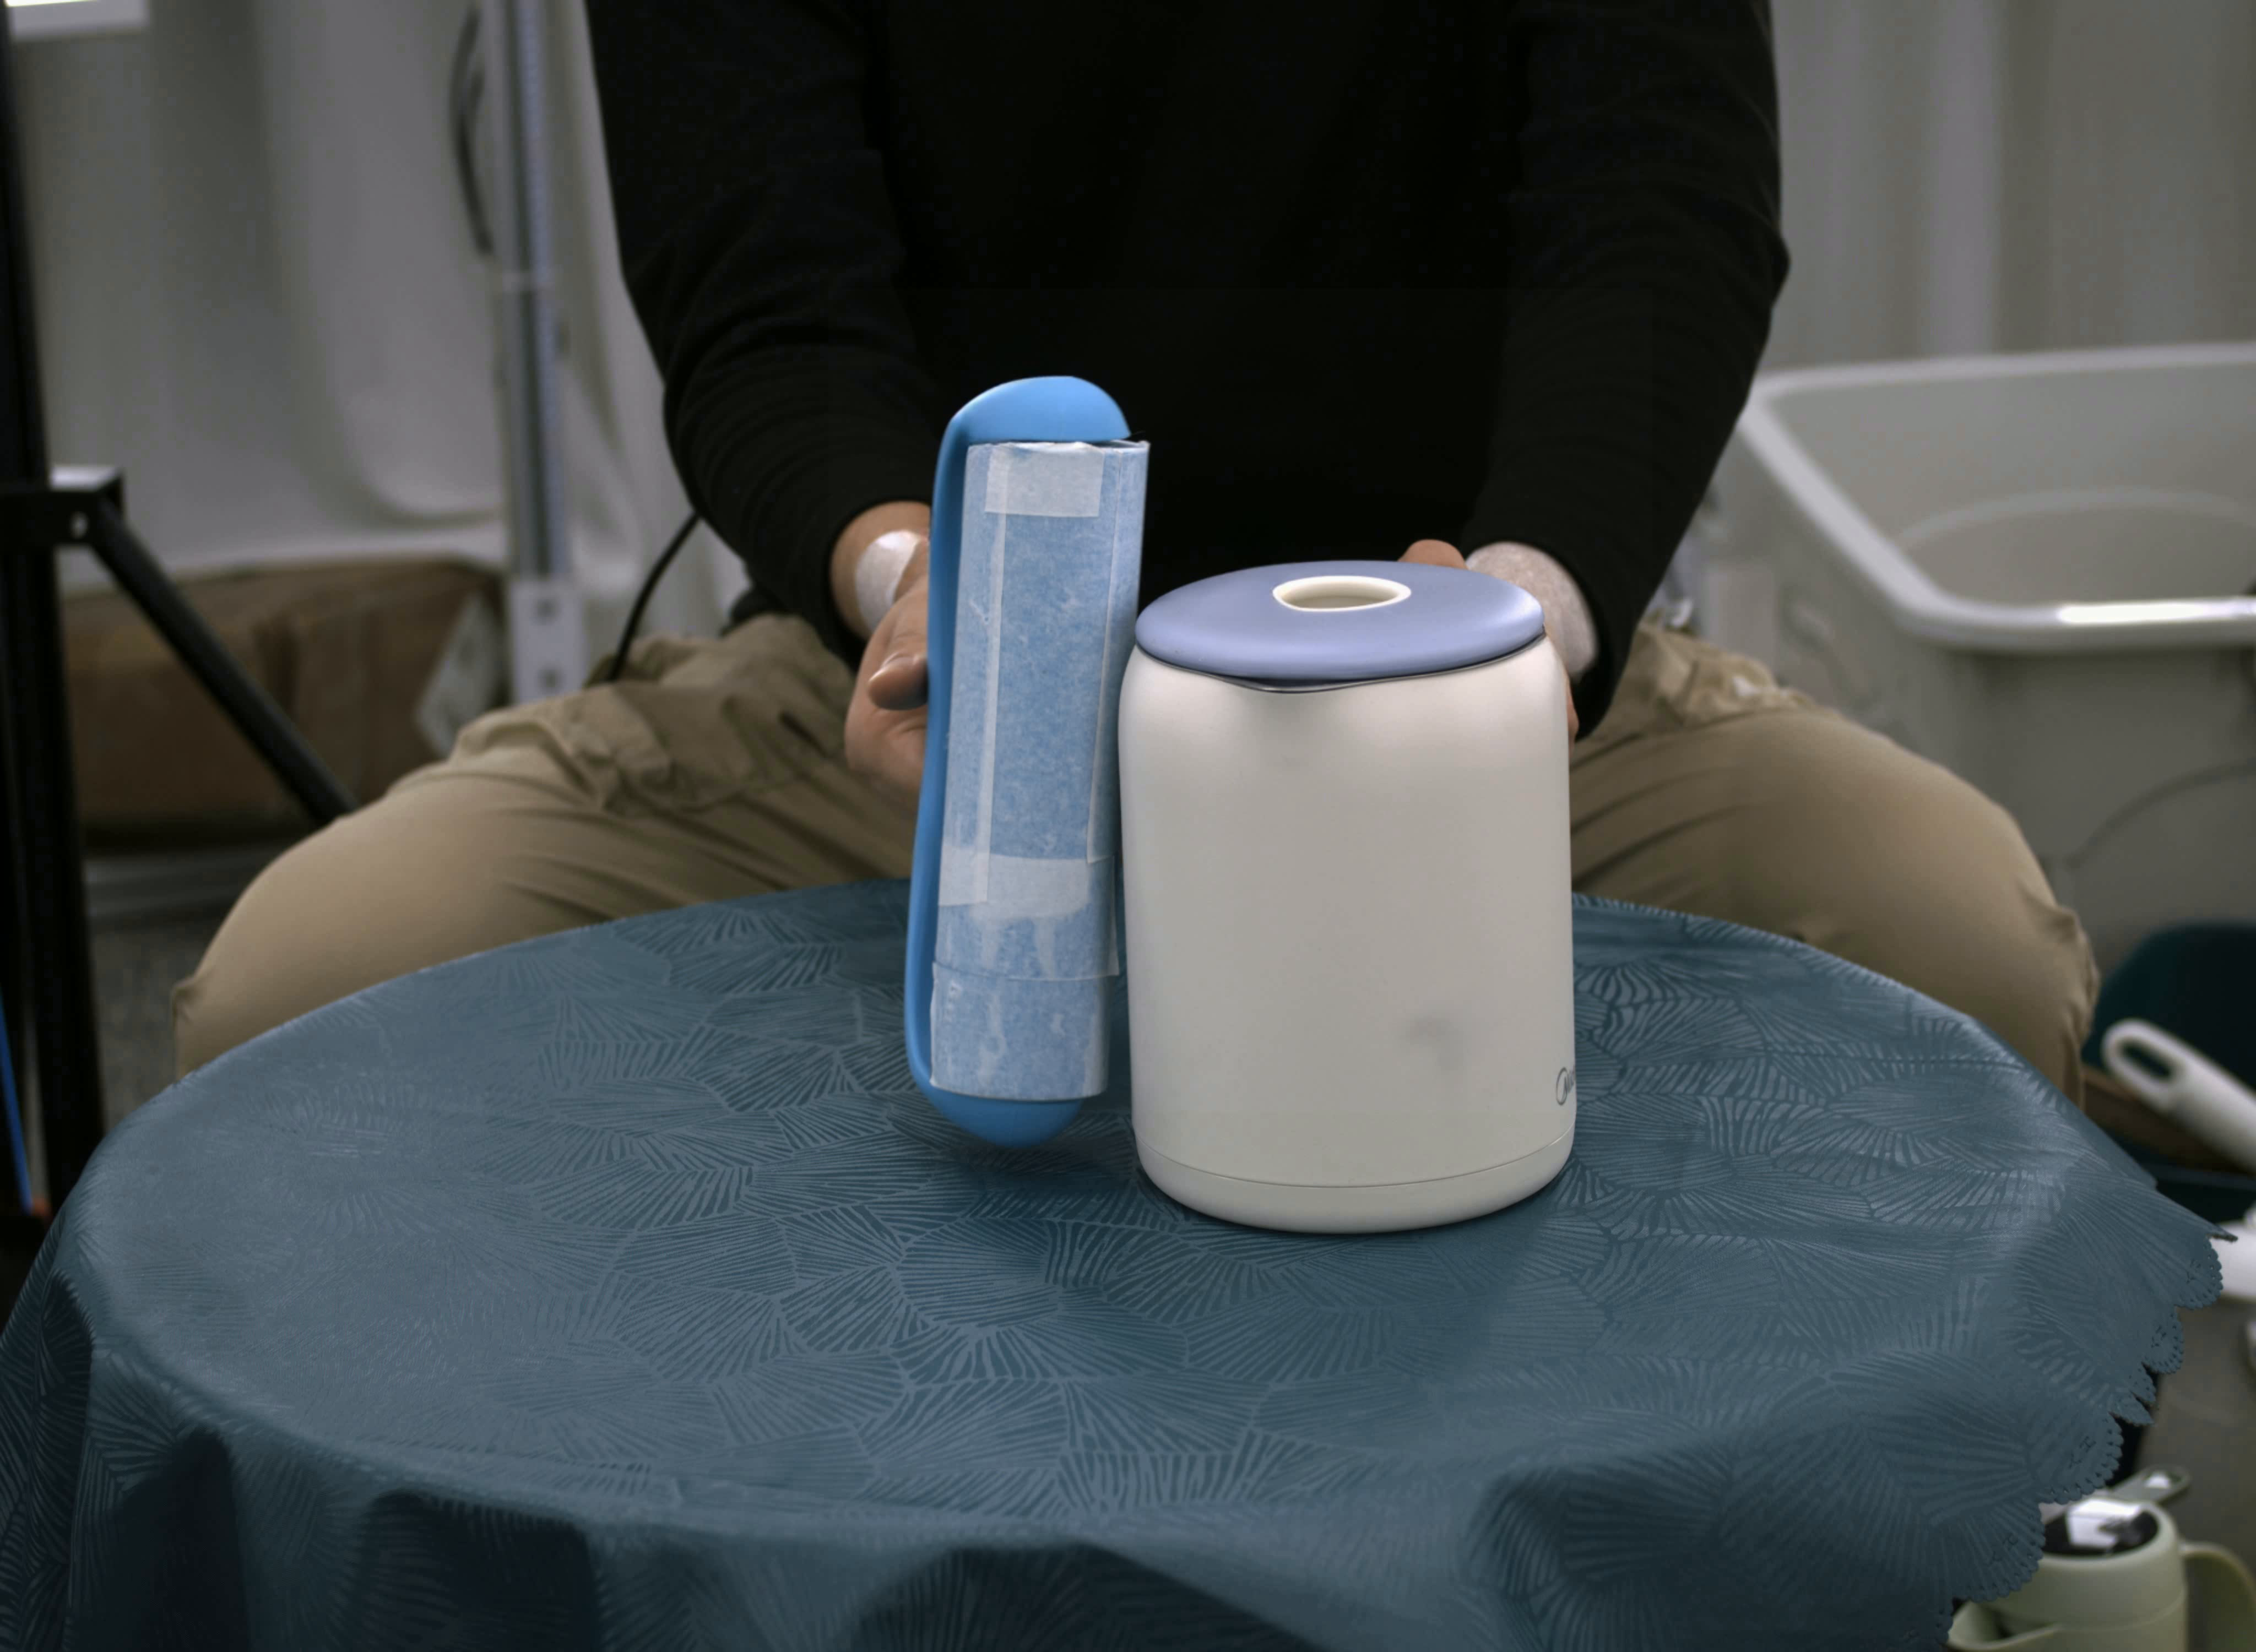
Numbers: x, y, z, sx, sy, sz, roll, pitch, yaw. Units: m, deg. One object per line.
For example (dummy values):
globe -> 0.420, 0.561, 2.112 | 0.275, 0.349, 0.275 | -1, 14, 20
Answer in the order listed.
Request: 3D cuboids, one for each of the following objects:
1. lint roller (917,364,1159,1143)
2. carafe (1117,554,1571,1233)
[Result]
lint roller -> -0.030, -0.027, 1.624 | 0.067, 0.230, 0.181 | 1, 5, -6
carafe -> 0.069, 0.013, 1.569 | 0.133, 0.182, 0.189 | 2, 14, 14
